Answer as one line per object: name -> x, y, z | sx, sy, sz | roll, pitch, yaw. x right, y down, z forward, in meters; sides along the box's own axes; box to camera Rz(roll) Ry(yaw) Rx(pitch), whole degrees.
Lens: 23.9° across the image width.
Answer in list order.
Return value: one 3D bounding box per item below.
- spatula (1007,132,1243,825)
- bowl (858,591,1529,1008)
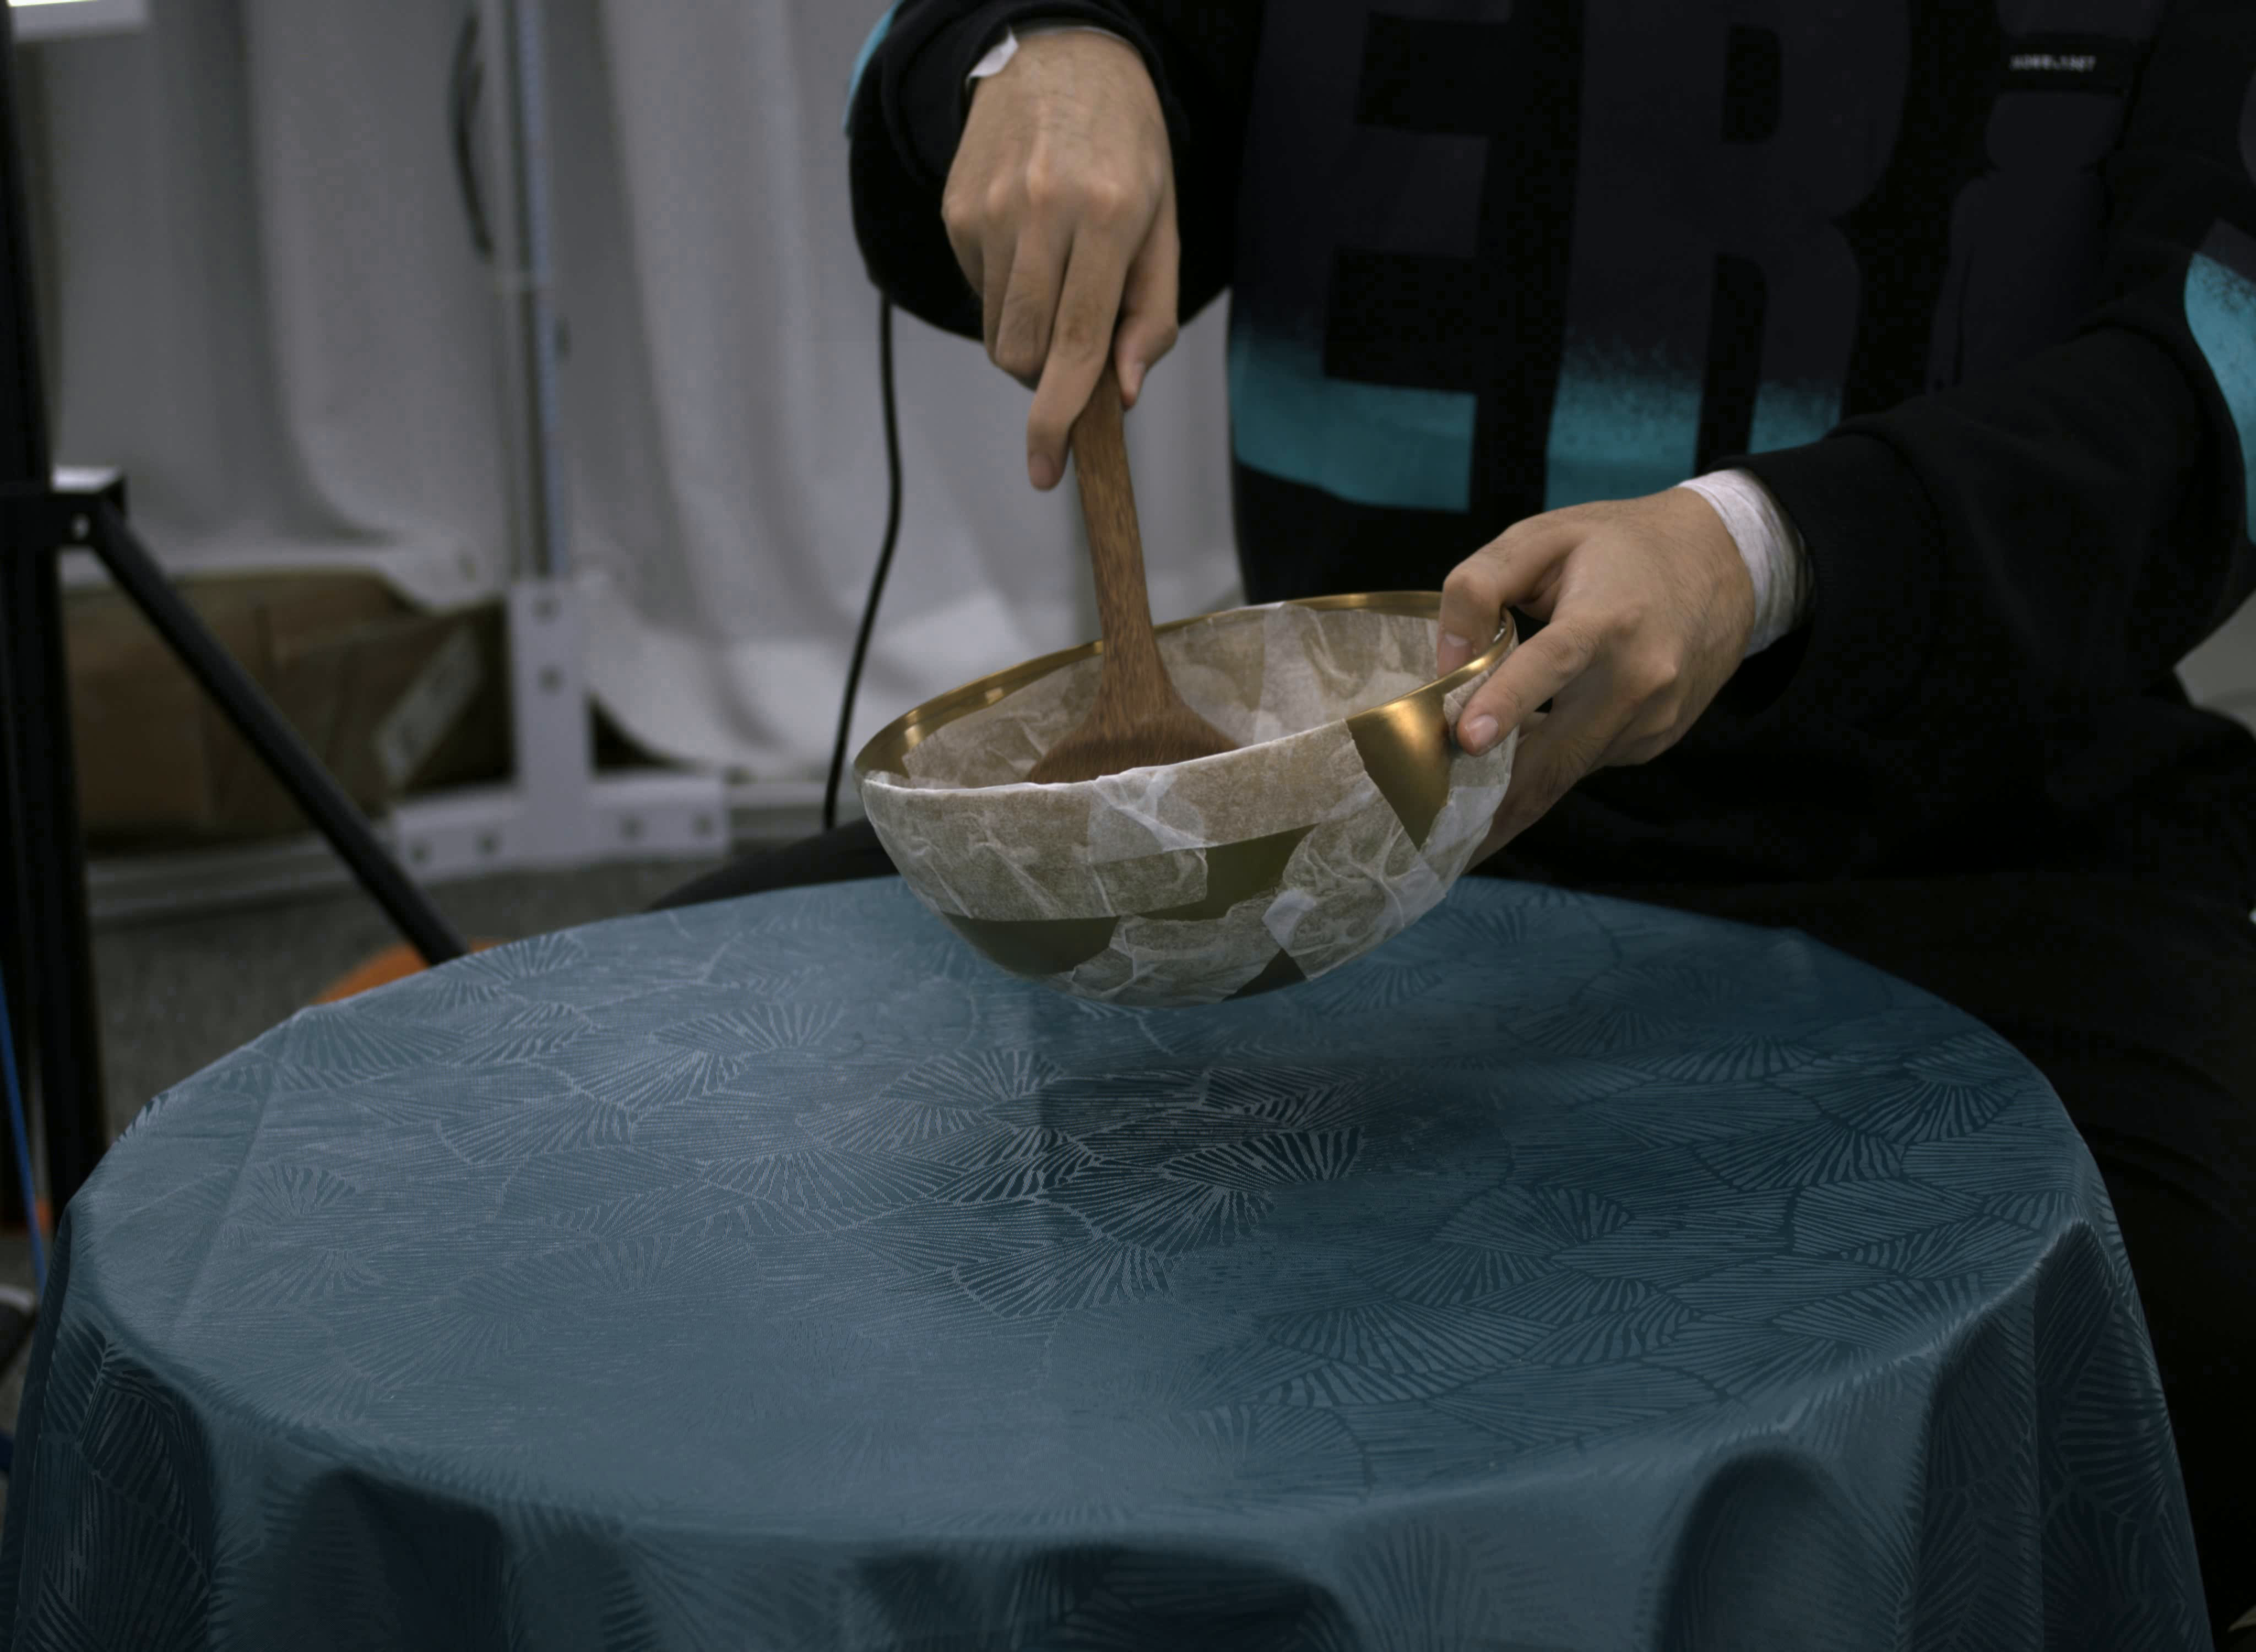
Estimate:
spatula -> -0.006, -0.102, 1.672 | 0.095, 0.016, 0.391 | -3, 44, -6
bowl -> 0.029, 0.000, 1.588 | 0.214, 0.094, 0.215 | -13, 11, 1
